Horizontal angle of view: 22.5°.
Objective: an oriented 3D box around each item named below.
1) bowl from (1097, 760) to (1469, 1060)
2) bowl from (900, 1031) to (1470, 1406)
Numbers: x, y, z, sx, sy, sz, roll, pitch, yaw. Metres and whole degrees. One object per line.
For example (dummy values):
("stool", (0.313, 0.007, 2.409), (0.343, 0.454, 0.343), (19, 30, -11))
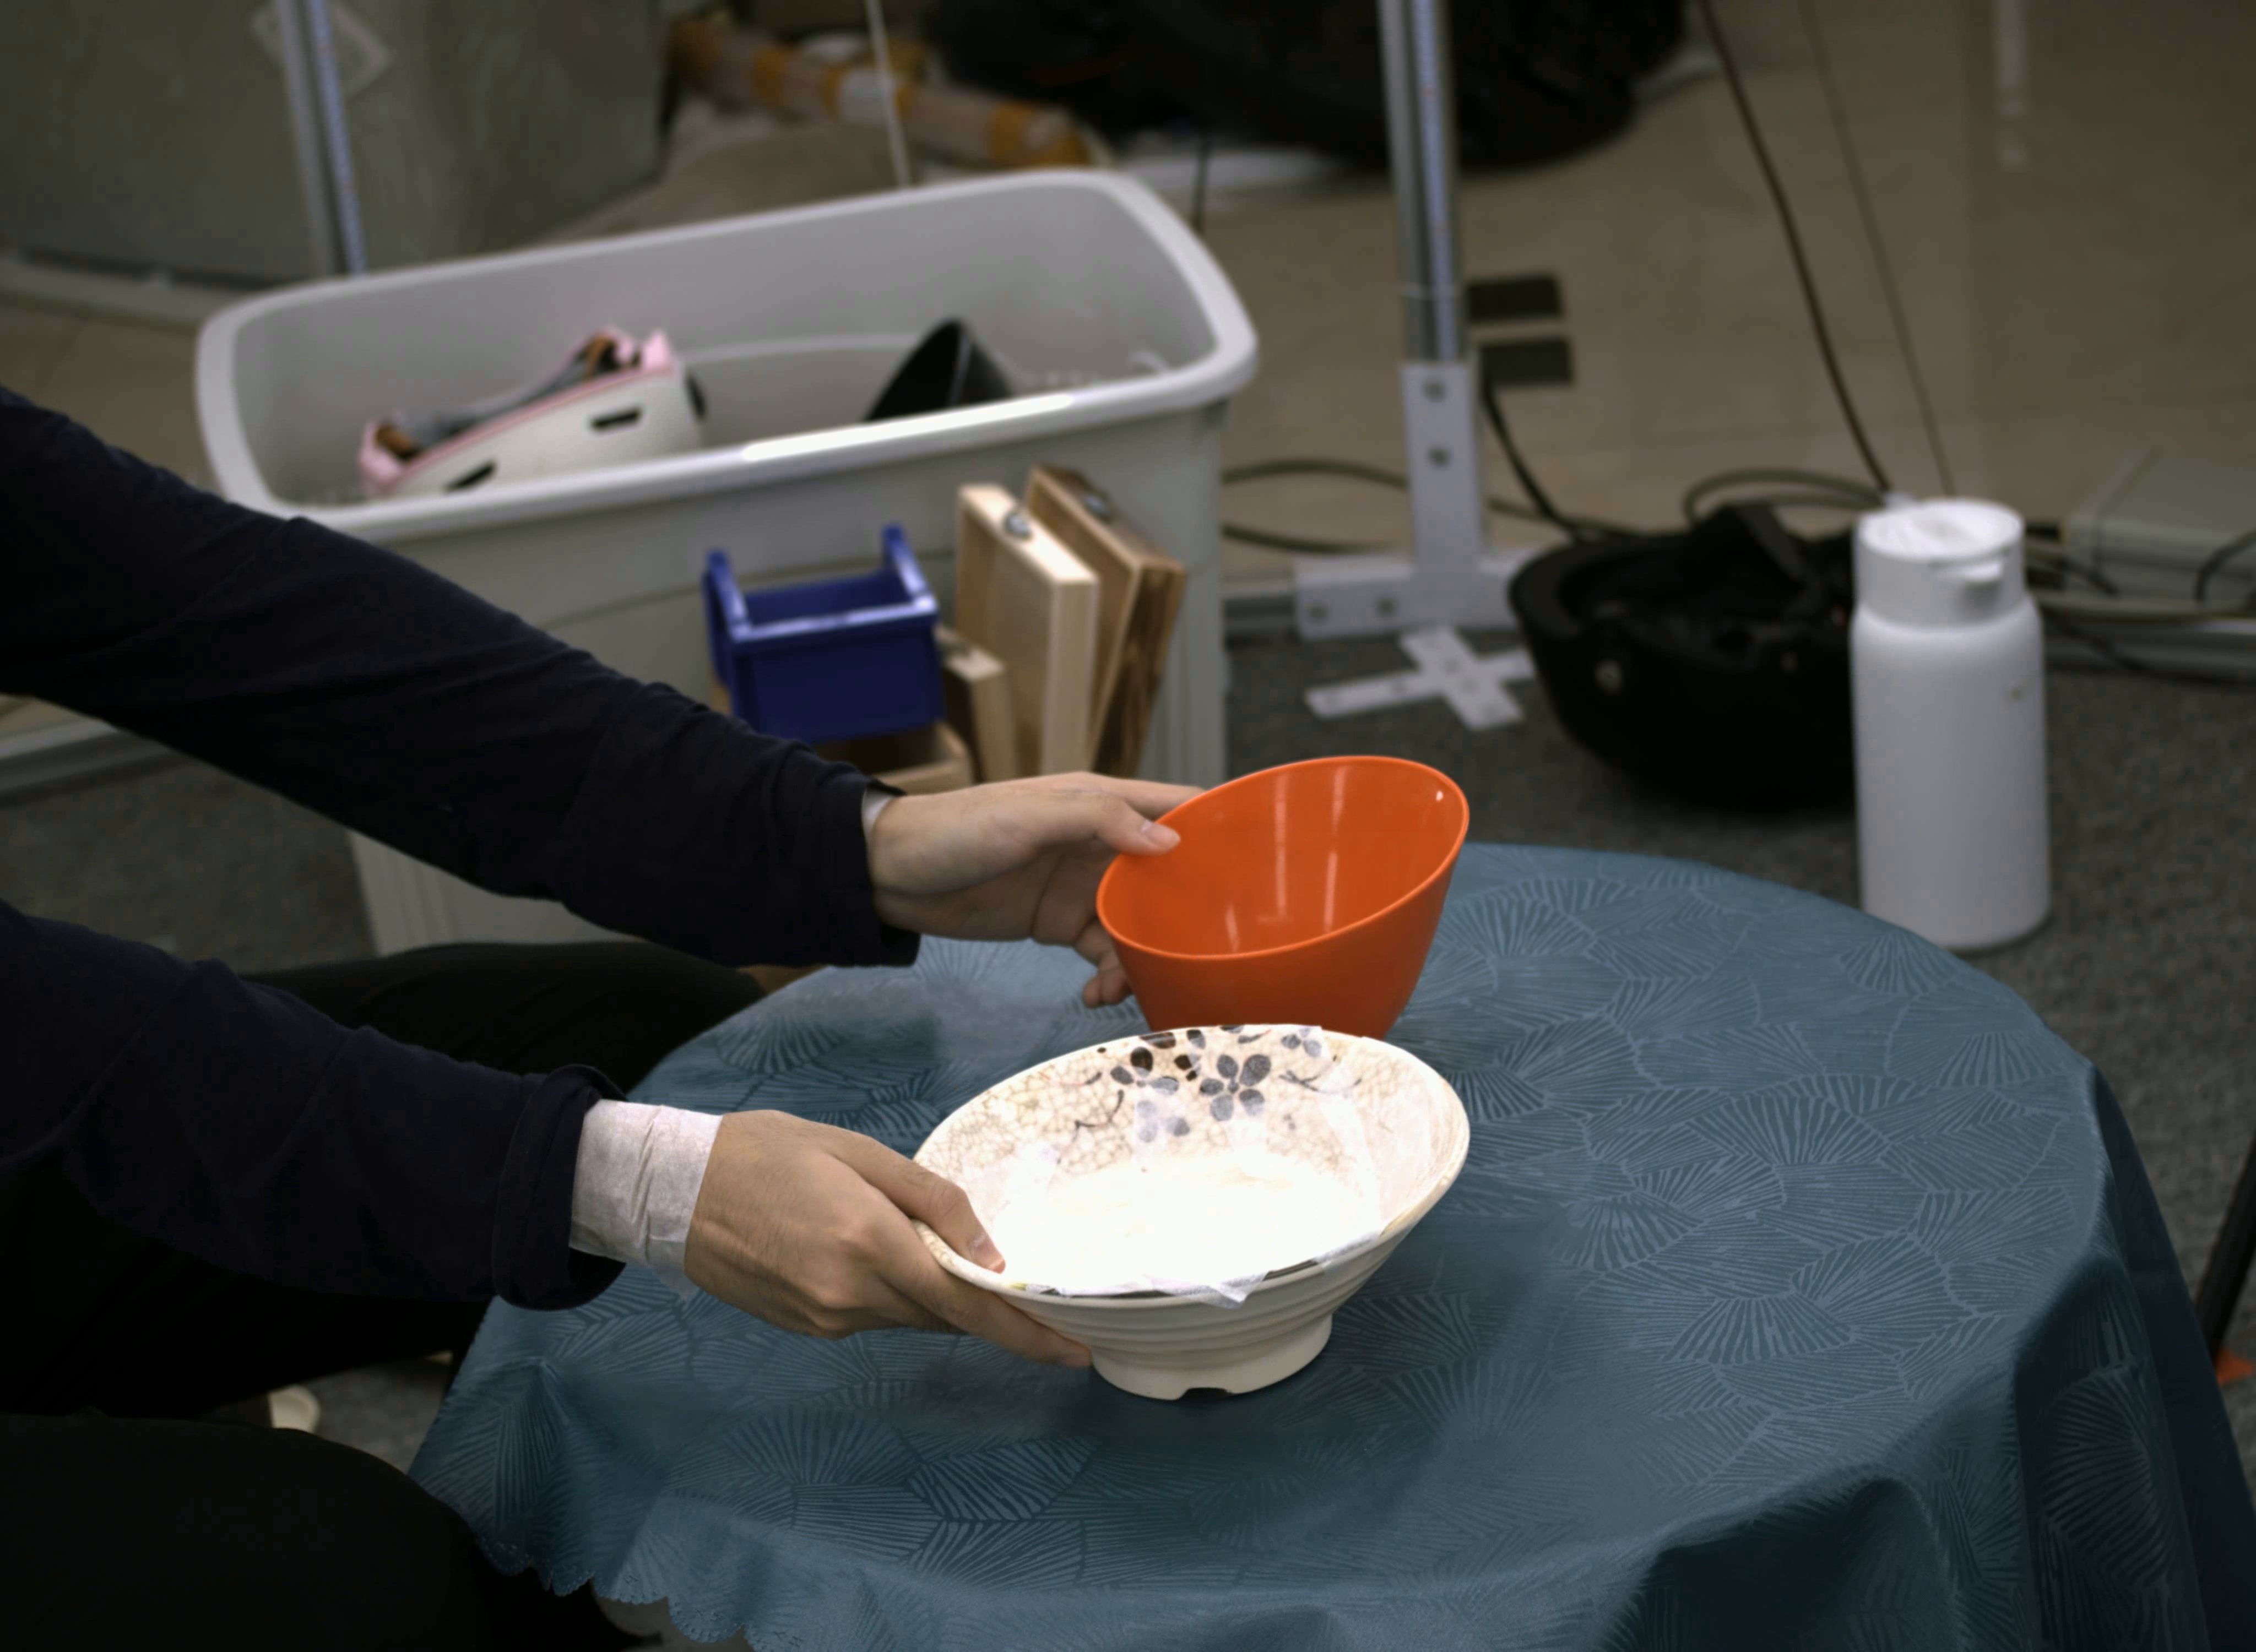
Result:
("bowl", (0.065, 0.050, 2.208), (0.148, 0.106, 0.146), (-7, 26, 3))
("bowl", (0.025, 0.152, 2.023), (0.204, 0.079, 0.201), (-7, 24, 3))
